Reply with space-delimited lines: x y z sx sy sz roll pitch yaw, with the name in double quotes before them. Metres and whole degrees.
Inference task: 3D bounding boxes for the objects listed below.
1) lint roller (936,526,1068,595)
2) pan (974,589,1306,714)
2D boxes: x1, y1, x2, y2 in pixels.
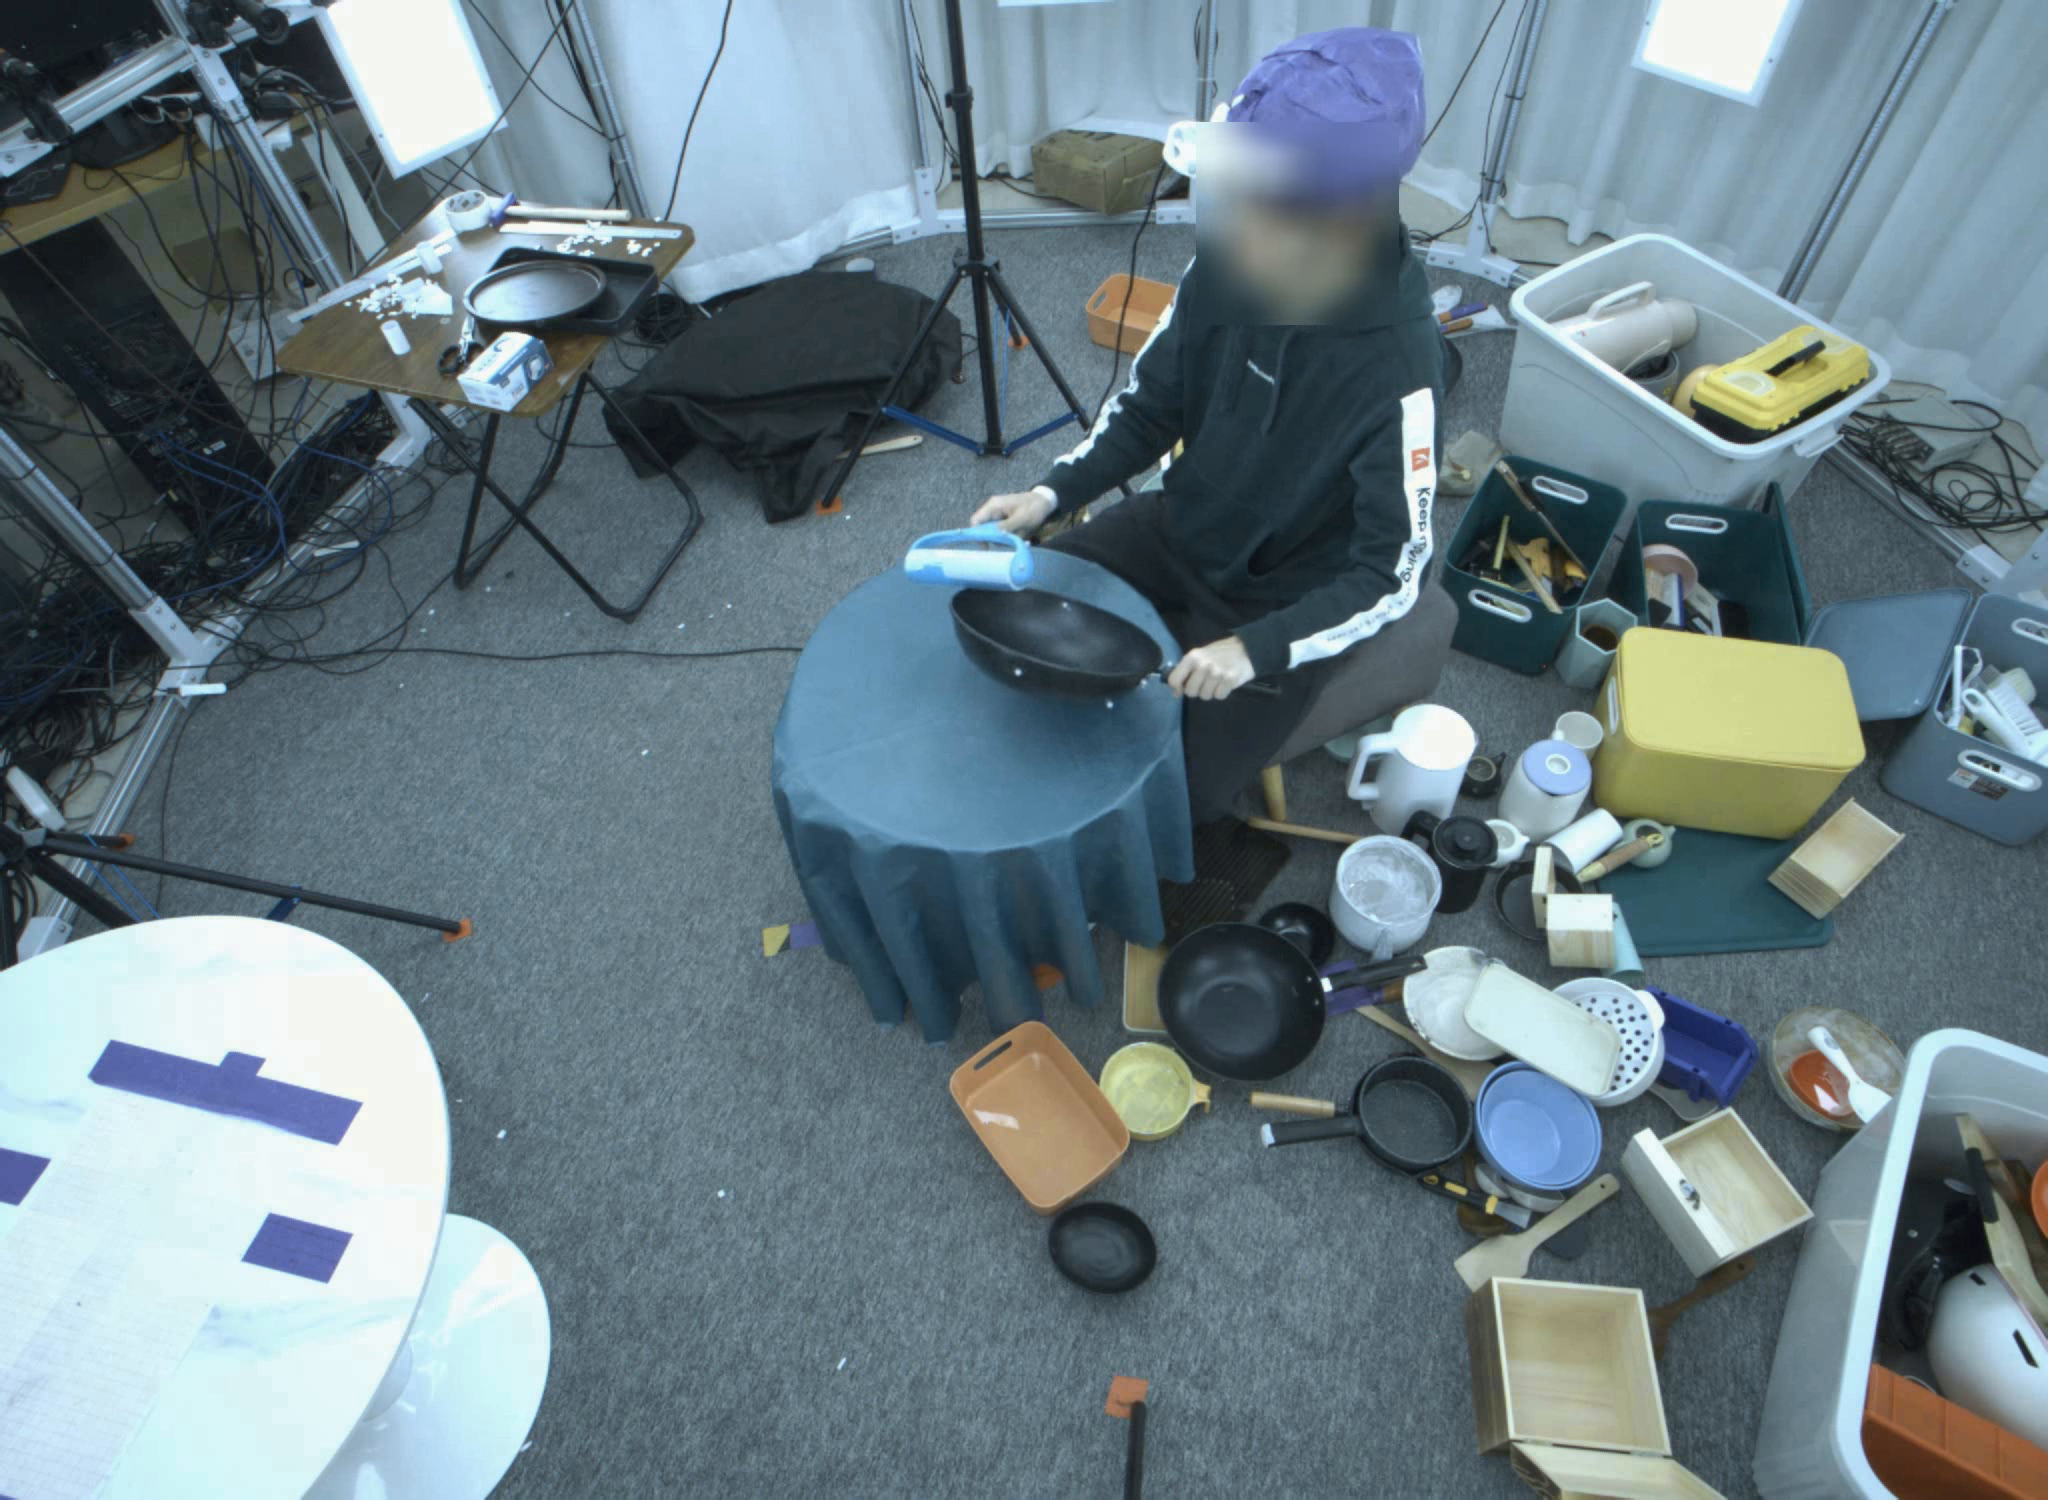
"lint roller" -0.007 -0.292 1.791 0.224 0.069 0.181 6 43 34
"pan" 0.149 -0.108 1.709 0.472 0.112 0.312 22 27 12
